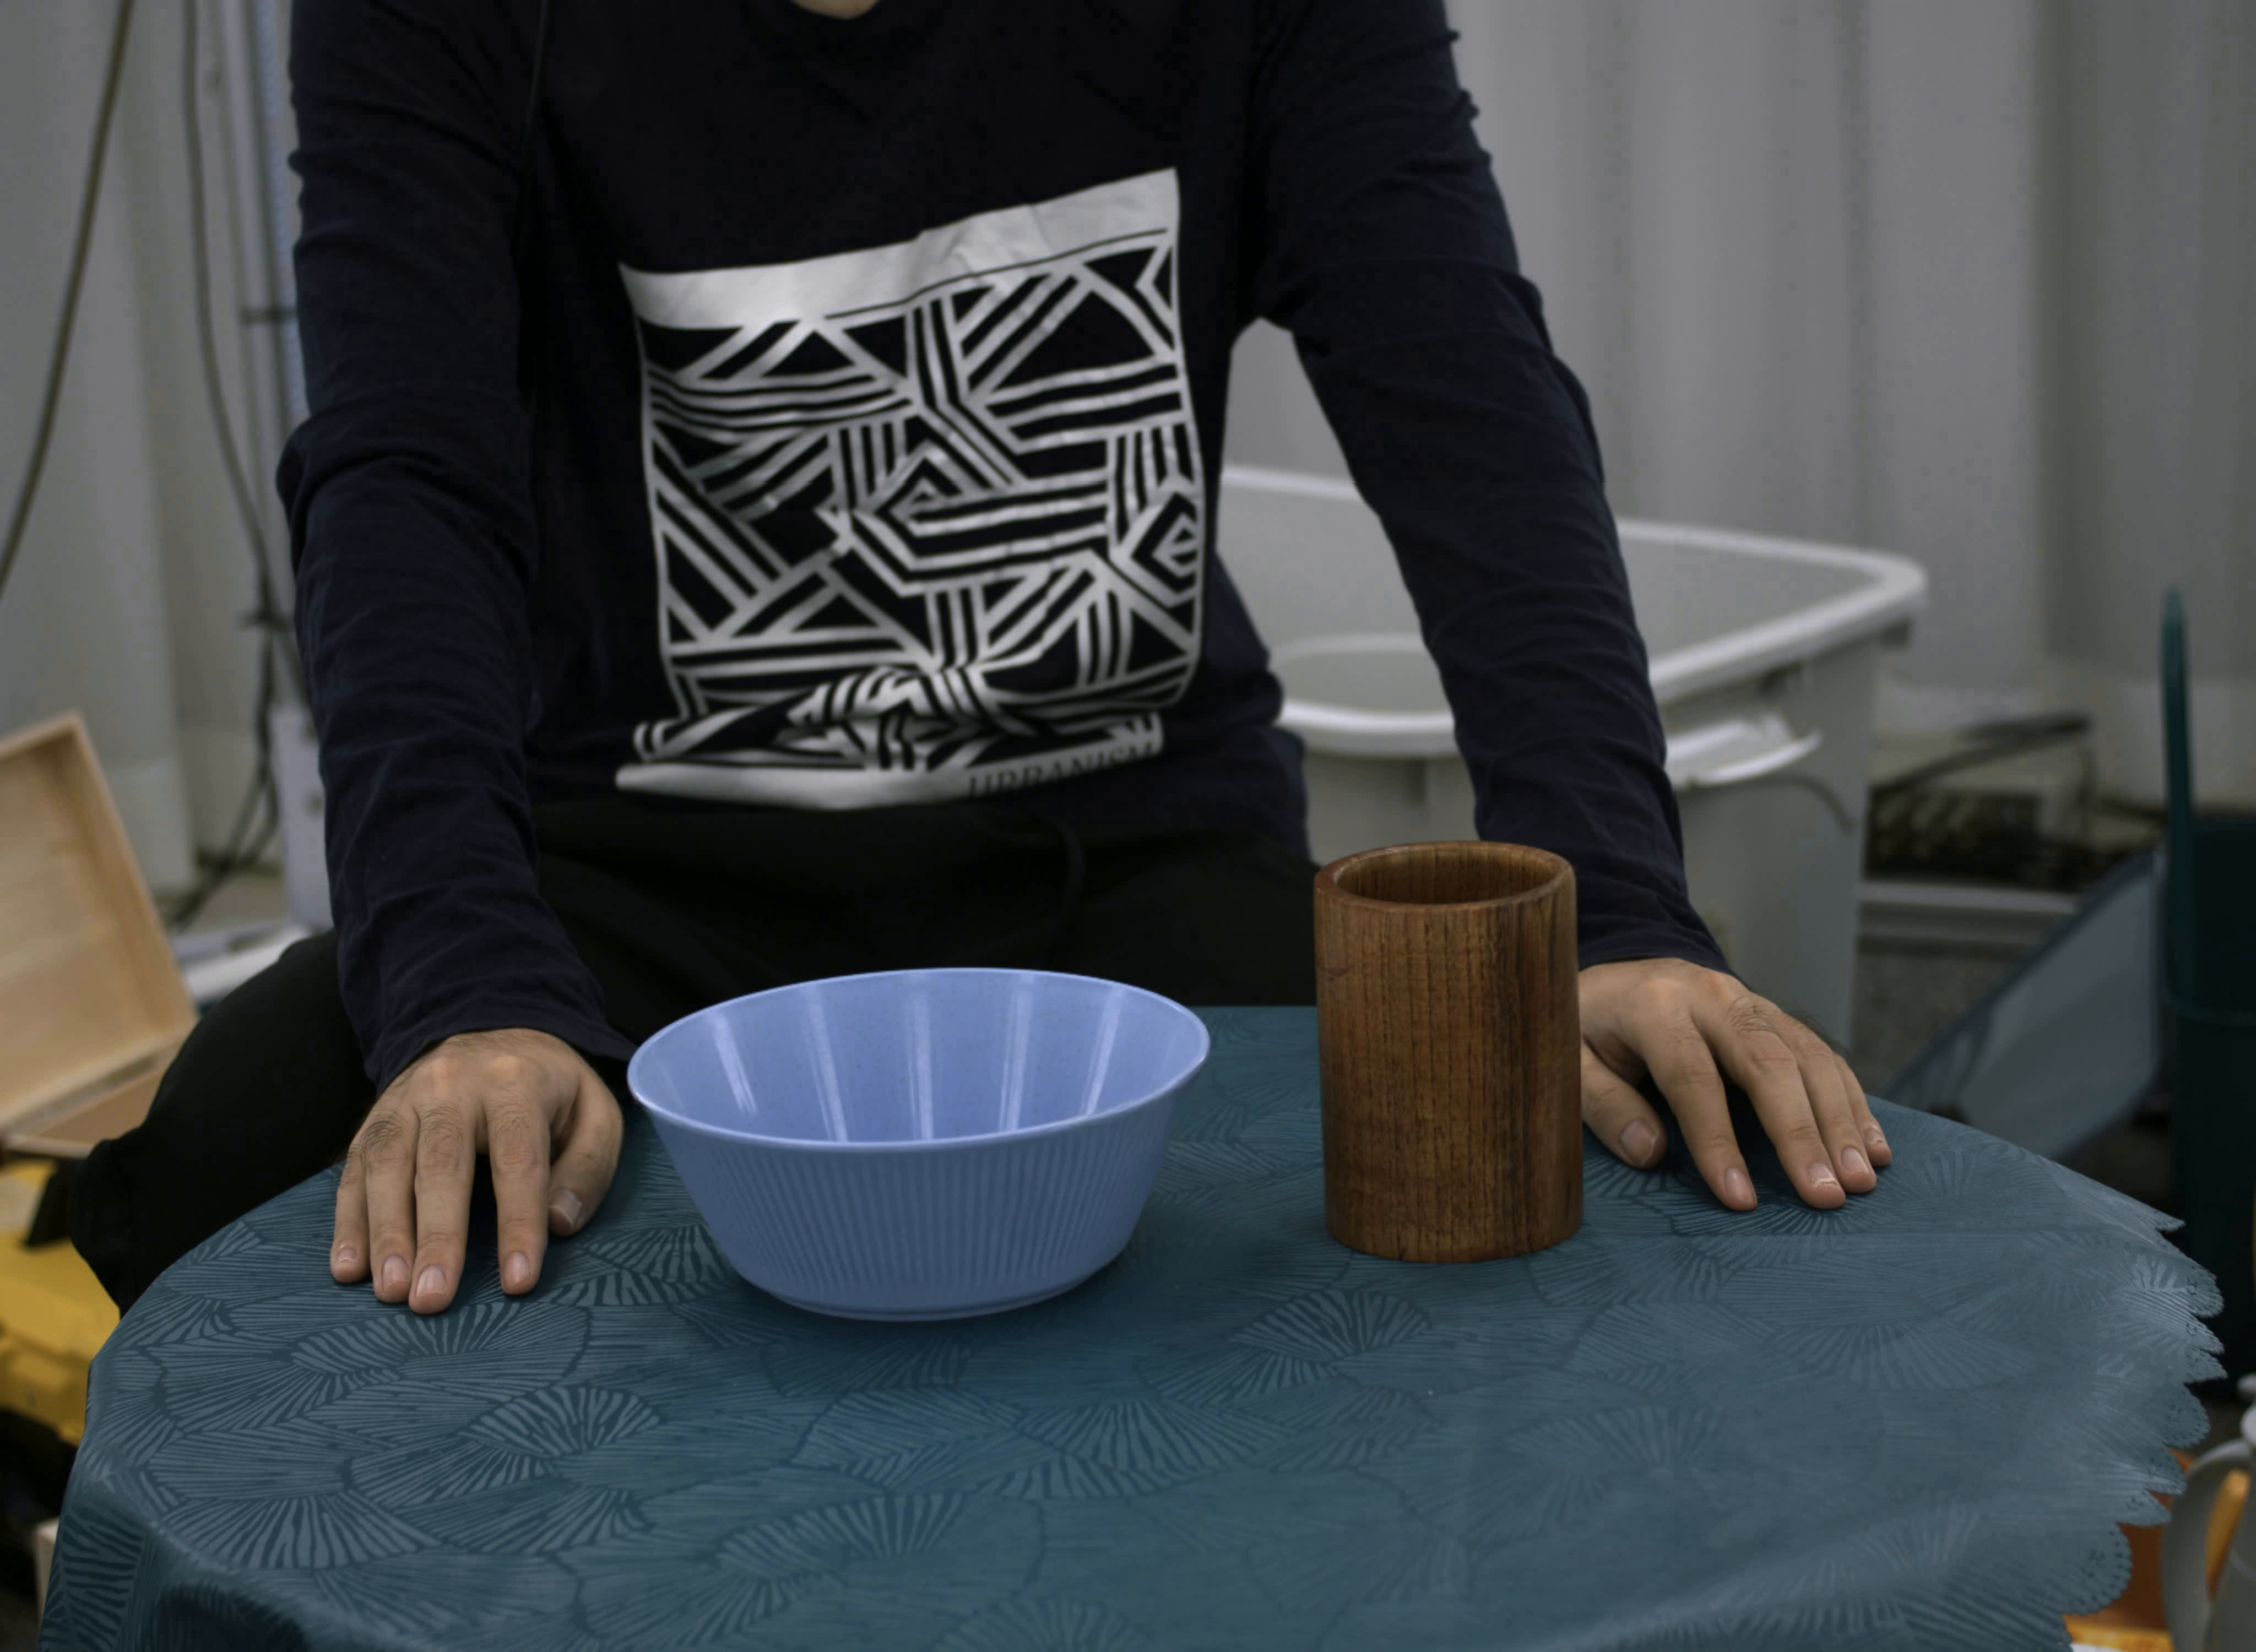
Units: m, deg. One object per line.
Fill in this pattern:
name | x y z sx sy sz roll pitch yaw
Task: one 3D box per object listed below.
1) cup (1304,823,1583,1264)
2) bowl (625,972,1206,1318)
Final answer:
cup | 0.096 0.065 1.658 0.087 0.118 0.088 -2 12 0
bowl | -0.063 0.099 1.653 0.175 0.070 0.177 -2 14 0
